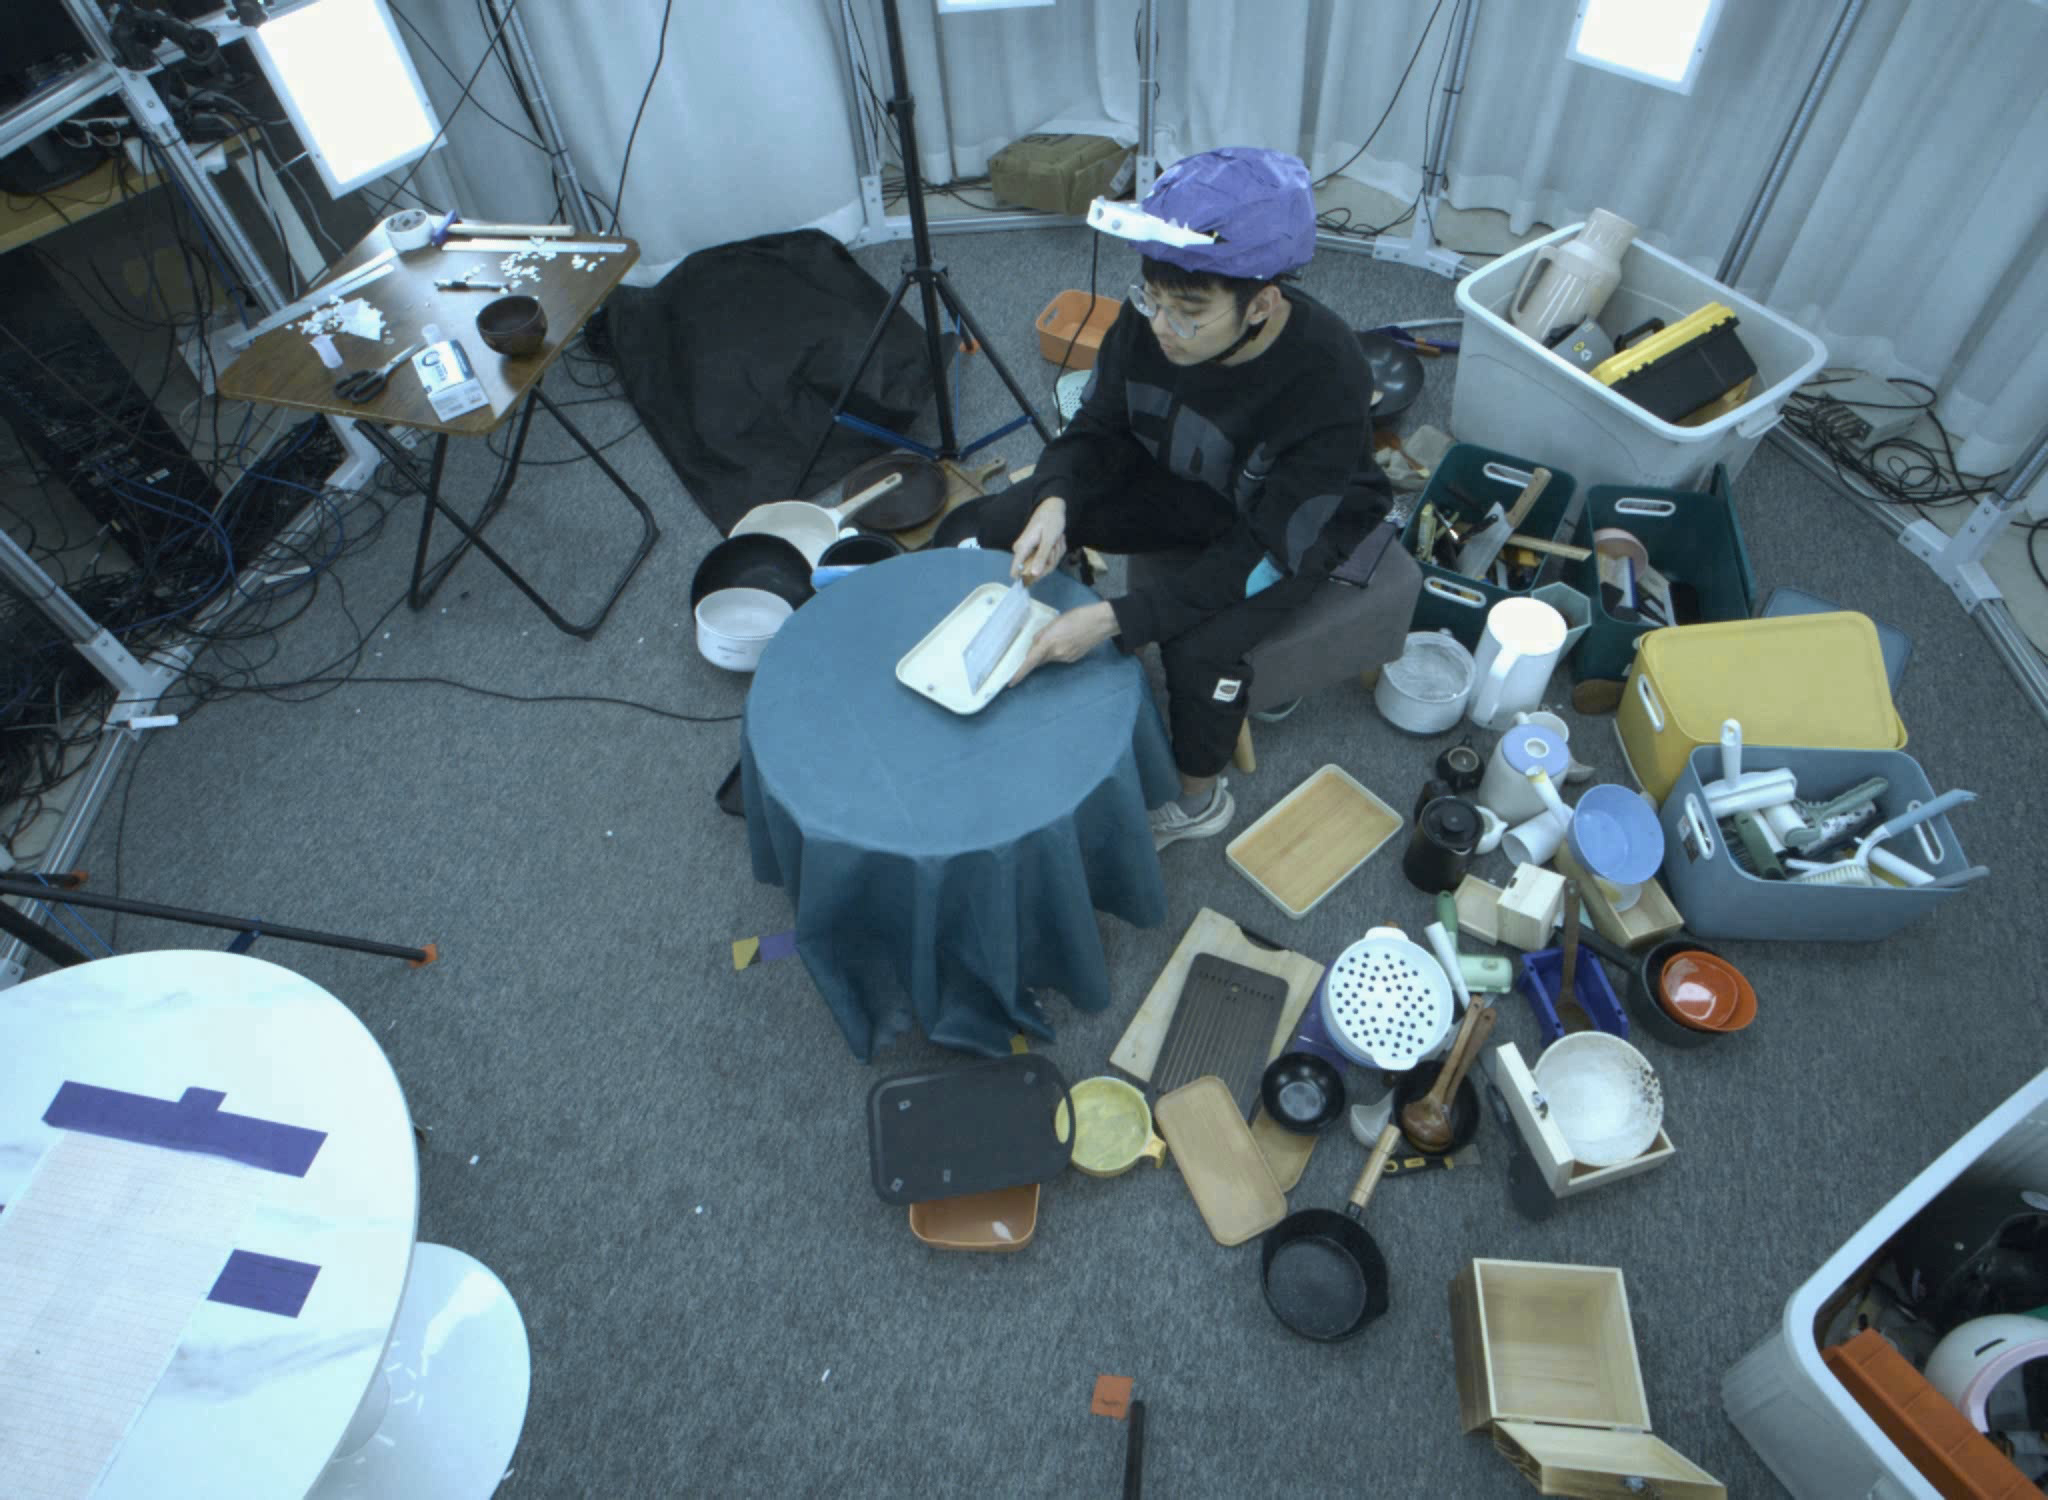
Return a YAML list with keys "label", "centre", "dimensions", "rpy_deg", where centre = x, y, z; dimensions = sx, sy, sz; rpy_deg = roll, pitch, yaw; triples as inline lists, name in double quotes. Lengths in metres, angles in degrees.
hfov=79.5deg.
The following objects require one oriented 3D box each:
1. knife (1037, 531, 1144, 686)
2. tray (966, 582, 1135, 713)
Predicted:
- label: "knife"
  centre: [0.101, -0.210, 1.839]
  dimensions: [0.020, 0.094, 0.307]
  rpy_deg: [21, 55, 25]
- label: "tray"
  centre: [0.041, -0.158, 1.873]
  dimensions: [0.168, 0.018, 0.241]
  rpy_deg: [33, 64, 31]
